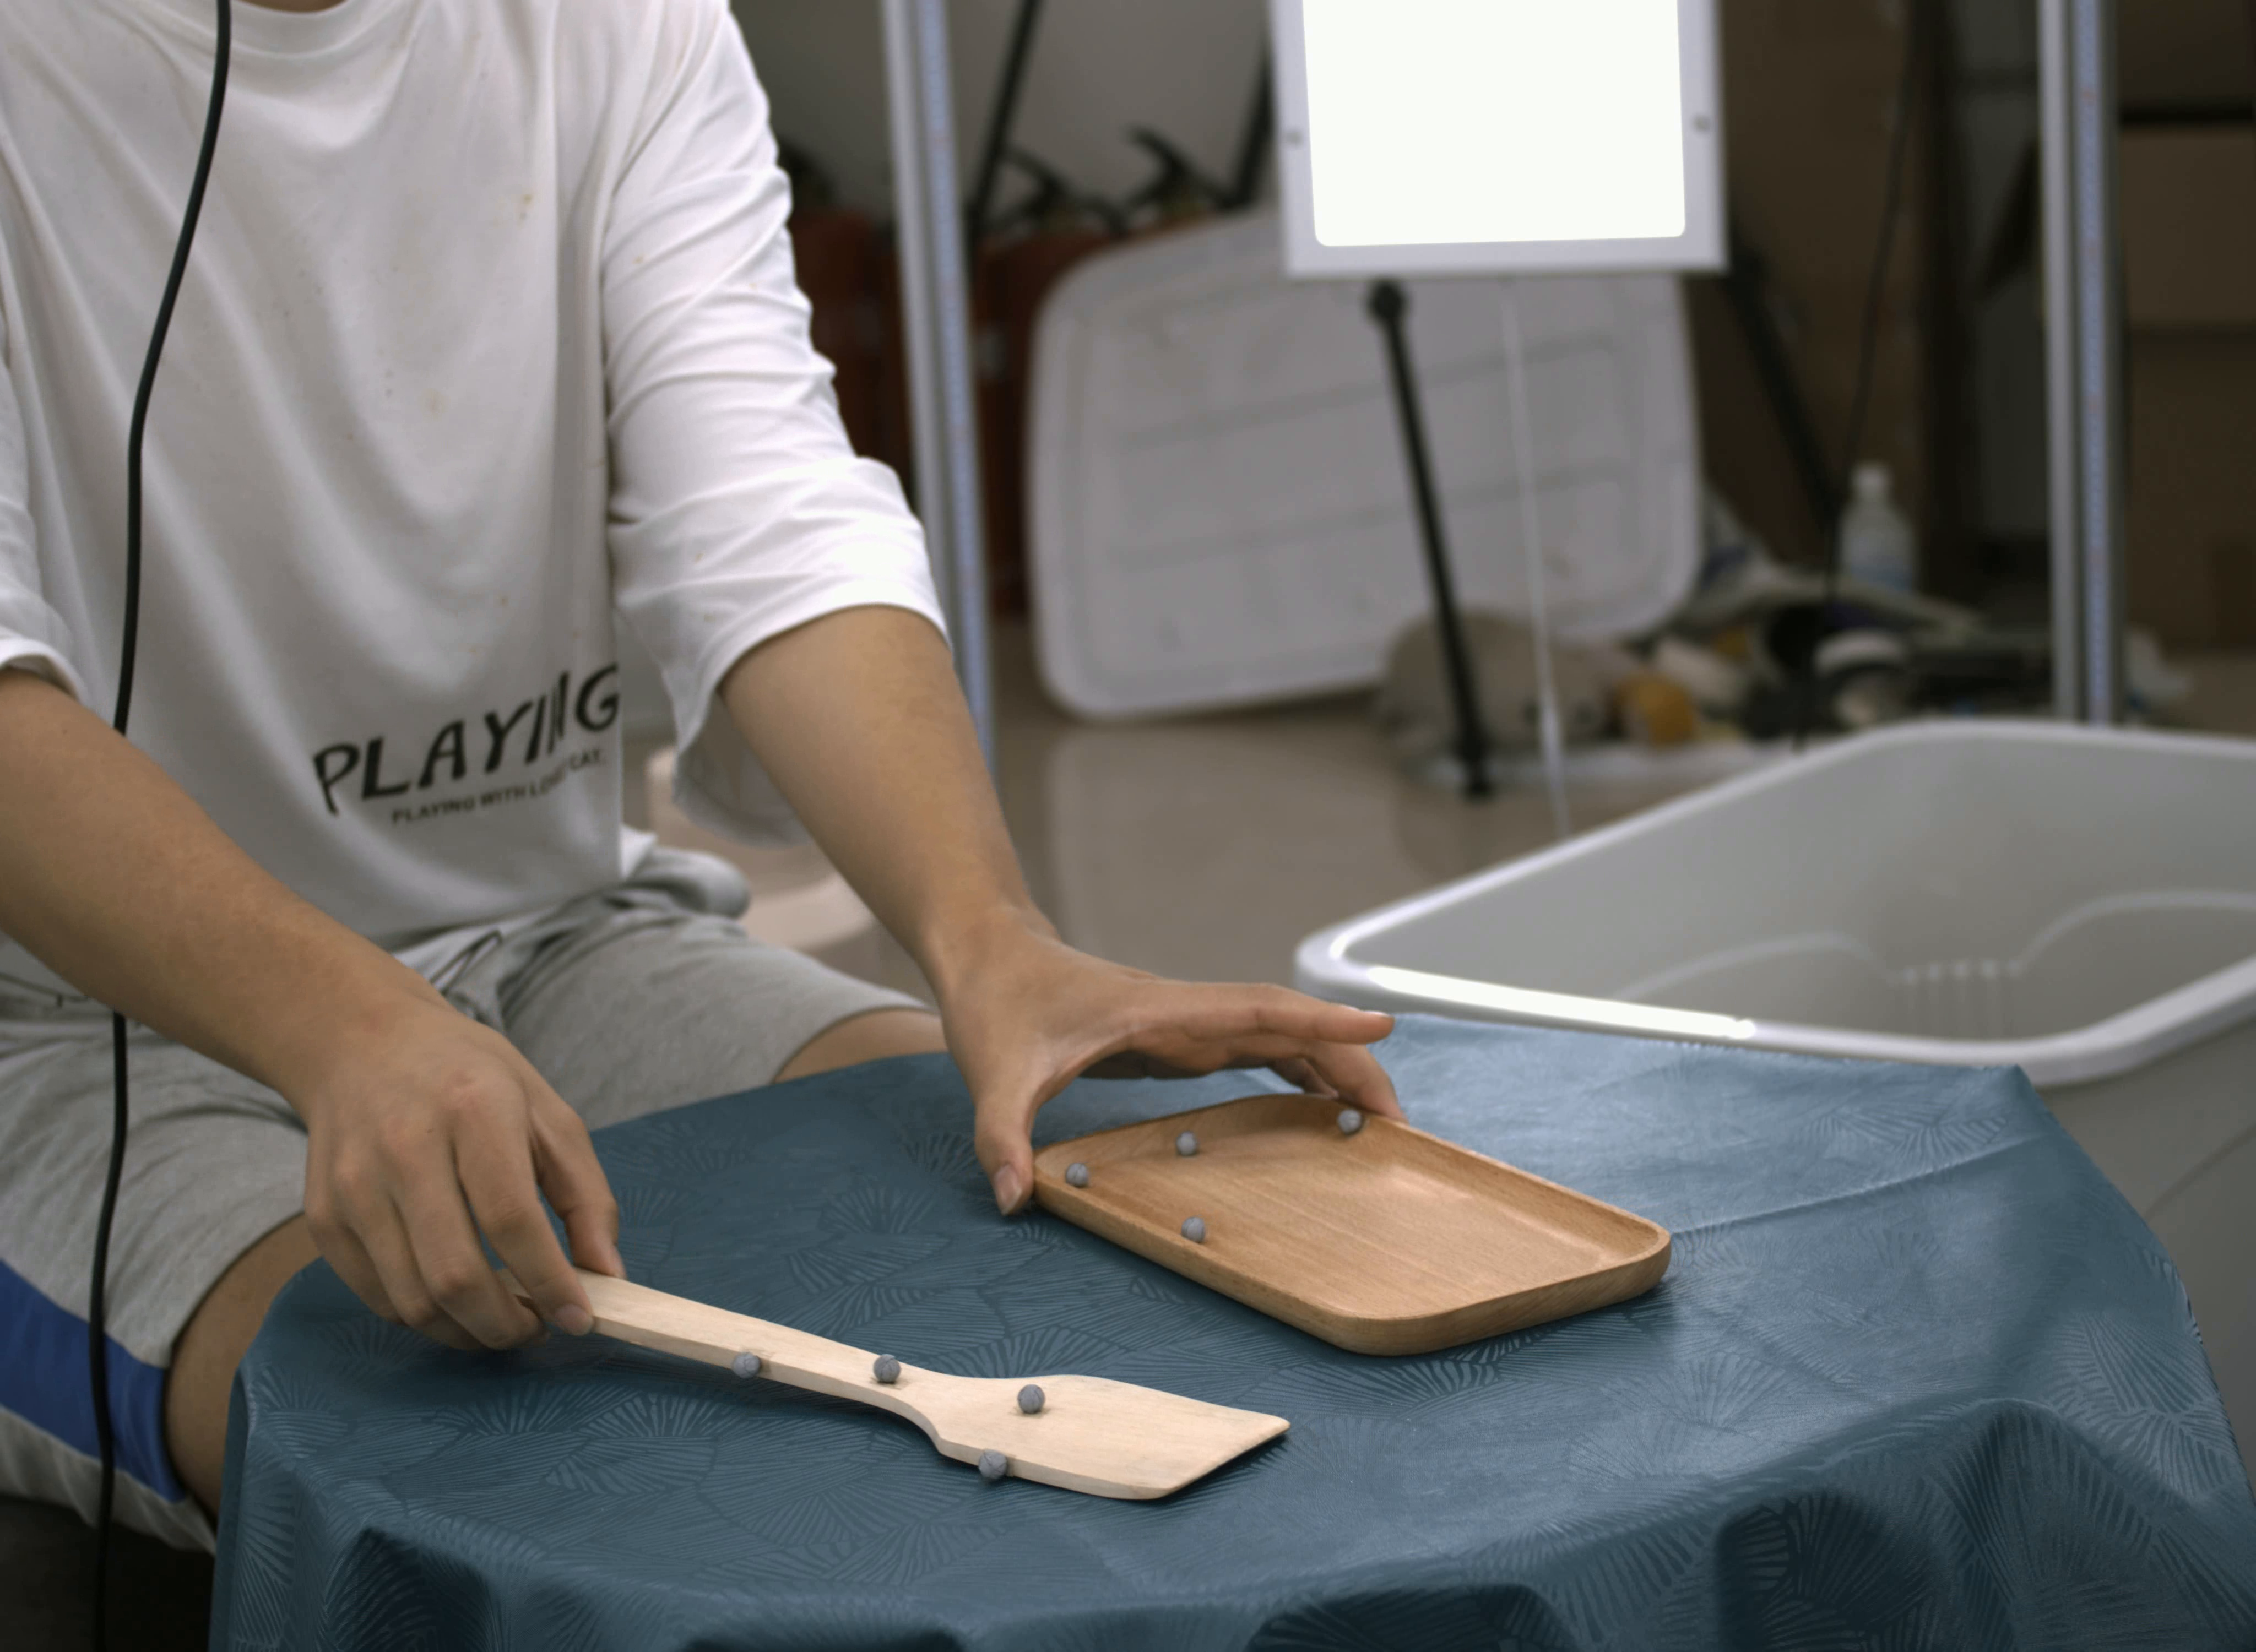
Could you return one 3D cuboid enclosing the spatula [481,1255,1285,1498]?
[{"bbox_3d":[-0.088,0.168,1.712,0.299,0.011,0.070,10,20,36],"label":"spatula"}]

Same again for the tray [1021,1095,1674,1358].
[{"bbox_3d":[0.070,0.130,1.823,0.128,0.023,0.255,-15,17,-25],"label":"tray"}]
